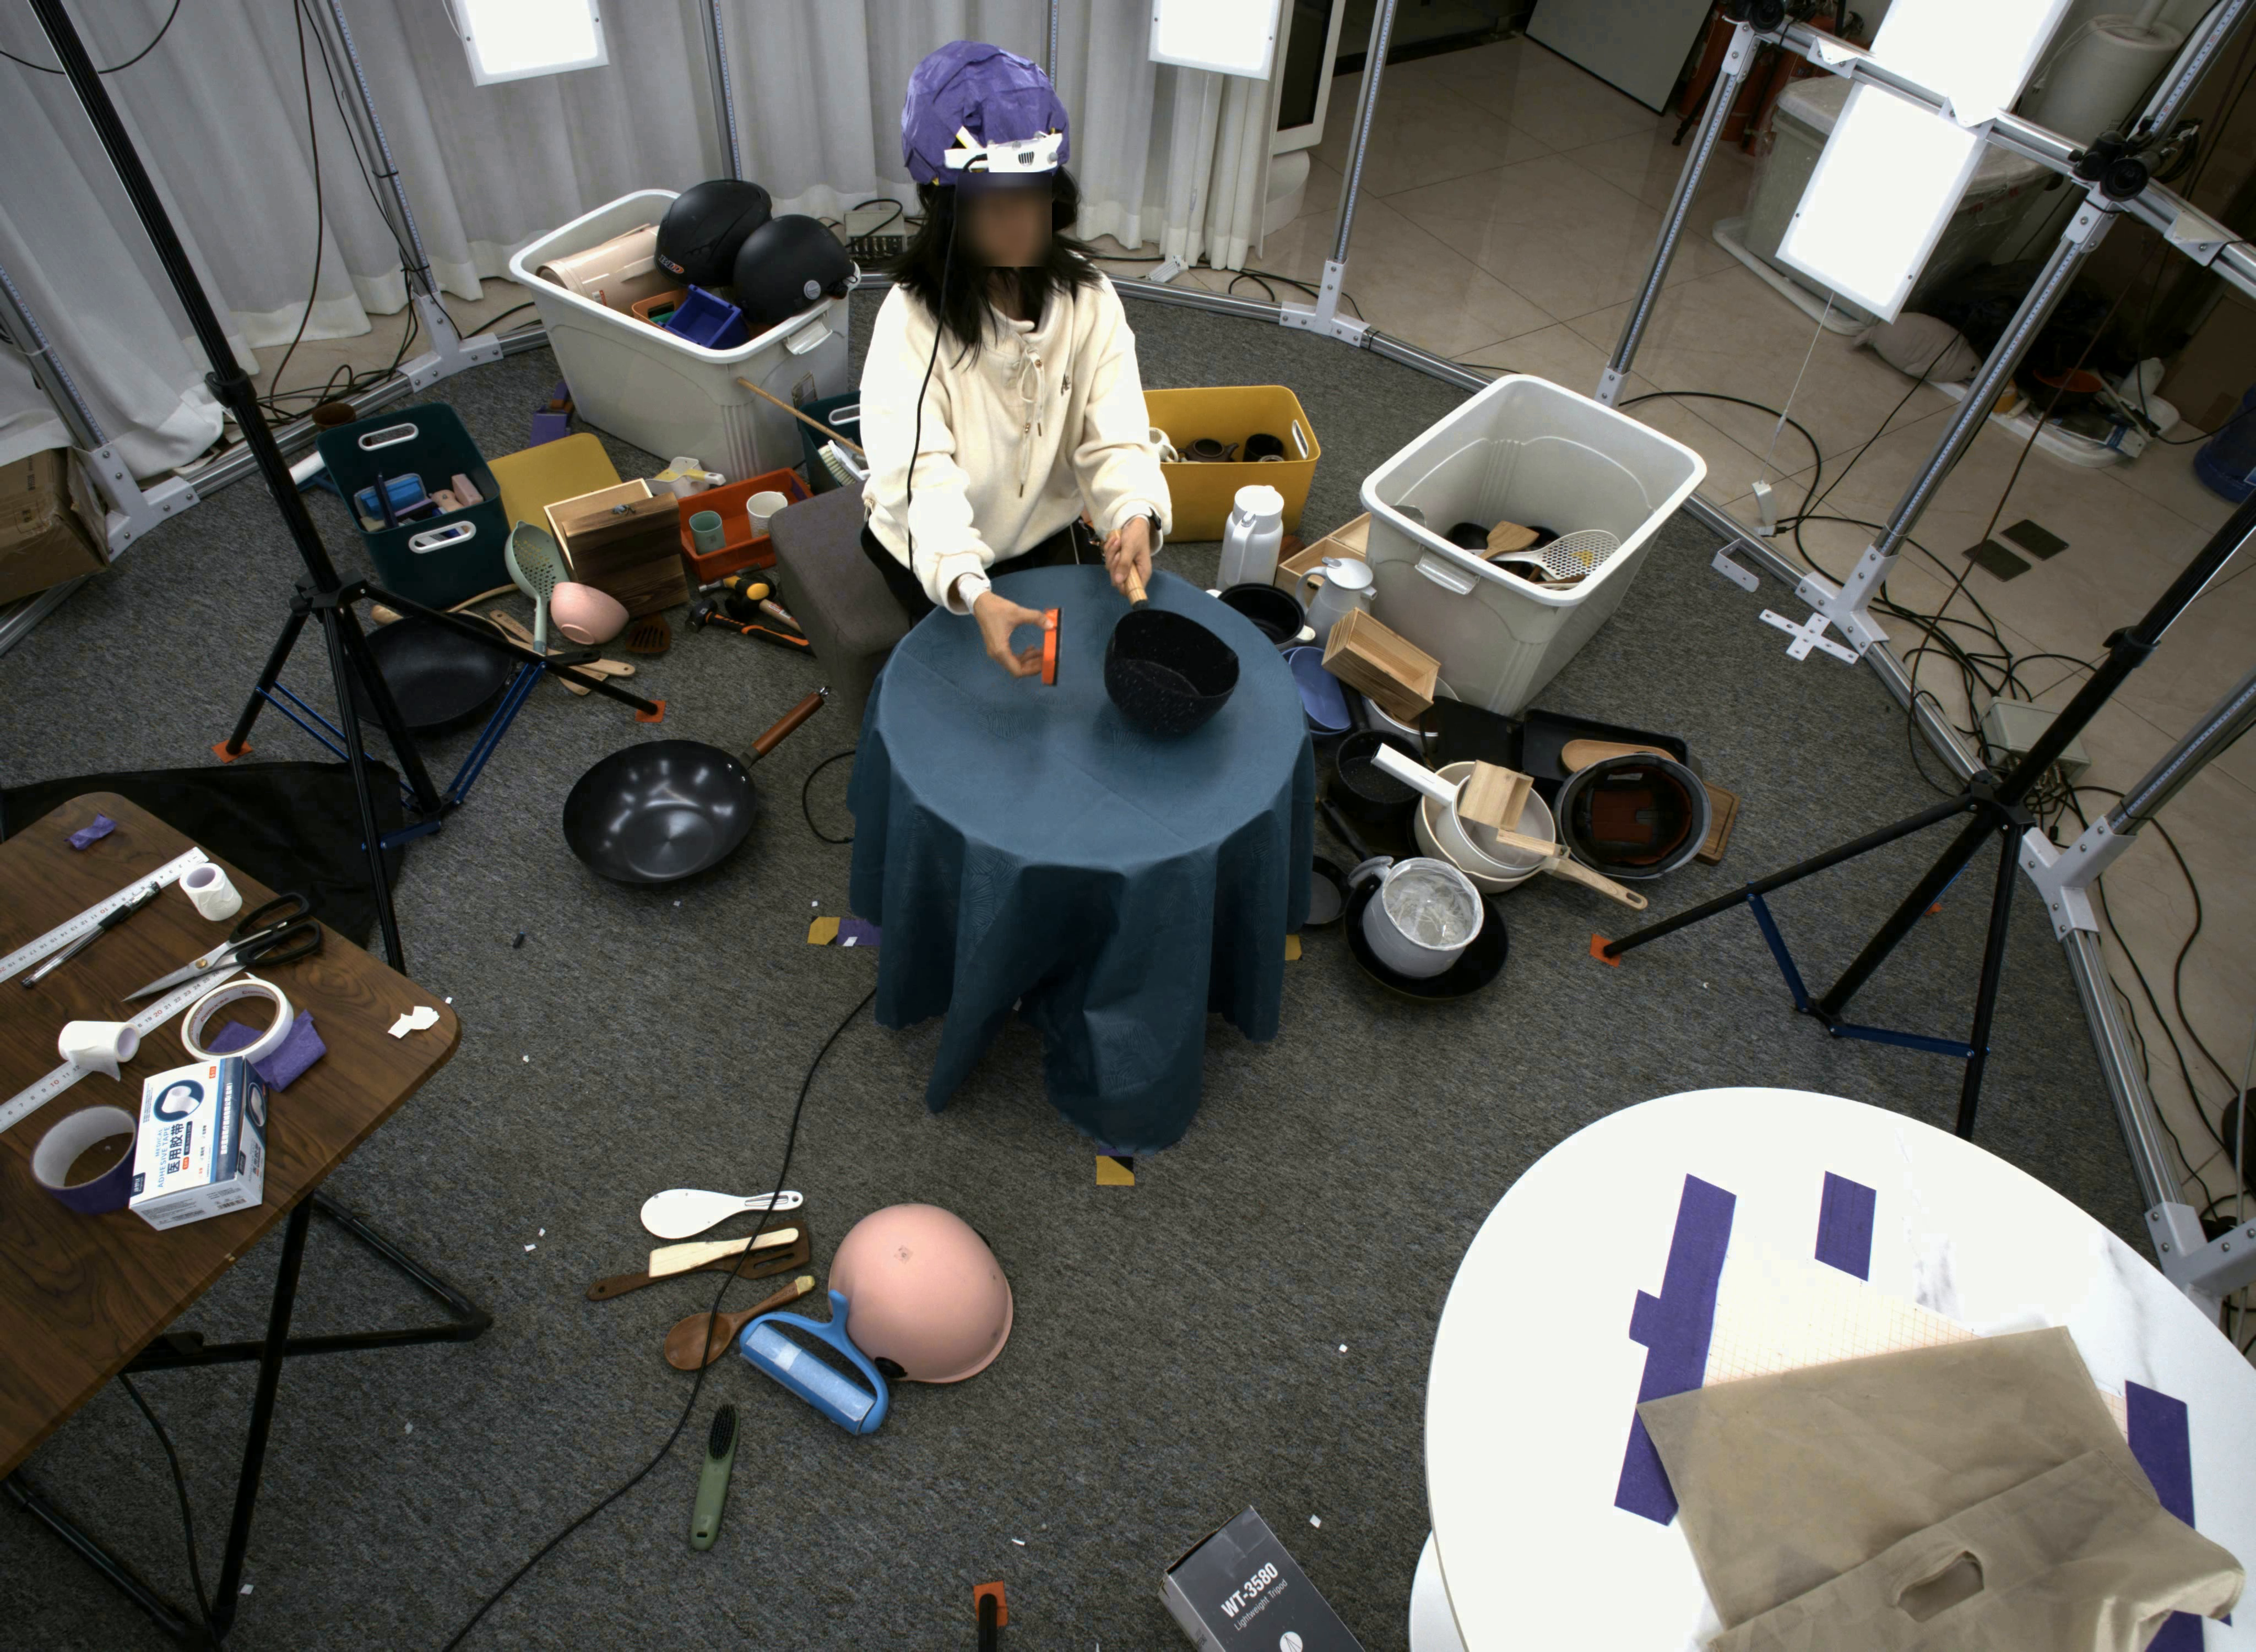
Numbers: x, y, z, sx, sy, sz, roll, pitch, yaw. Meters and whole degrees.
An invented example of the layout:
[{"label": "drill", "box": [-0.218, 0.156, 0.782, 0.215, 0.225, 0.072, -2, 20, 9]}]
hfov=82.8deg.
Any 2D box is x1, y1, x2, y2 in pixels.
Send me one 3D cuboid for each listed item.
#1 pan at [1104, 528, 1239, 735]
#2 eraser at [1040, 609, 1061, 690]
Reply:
[{"label": "pan", "box": [0.025, -0.274, 1.812, 0.207, 0.106, 0.351, -4, 50, -29]}, {"label": "eraser", "box": [-0.104, -0.239, 1.735, 0.023, 0.057, 0.111, 5, 48, -5]}]
